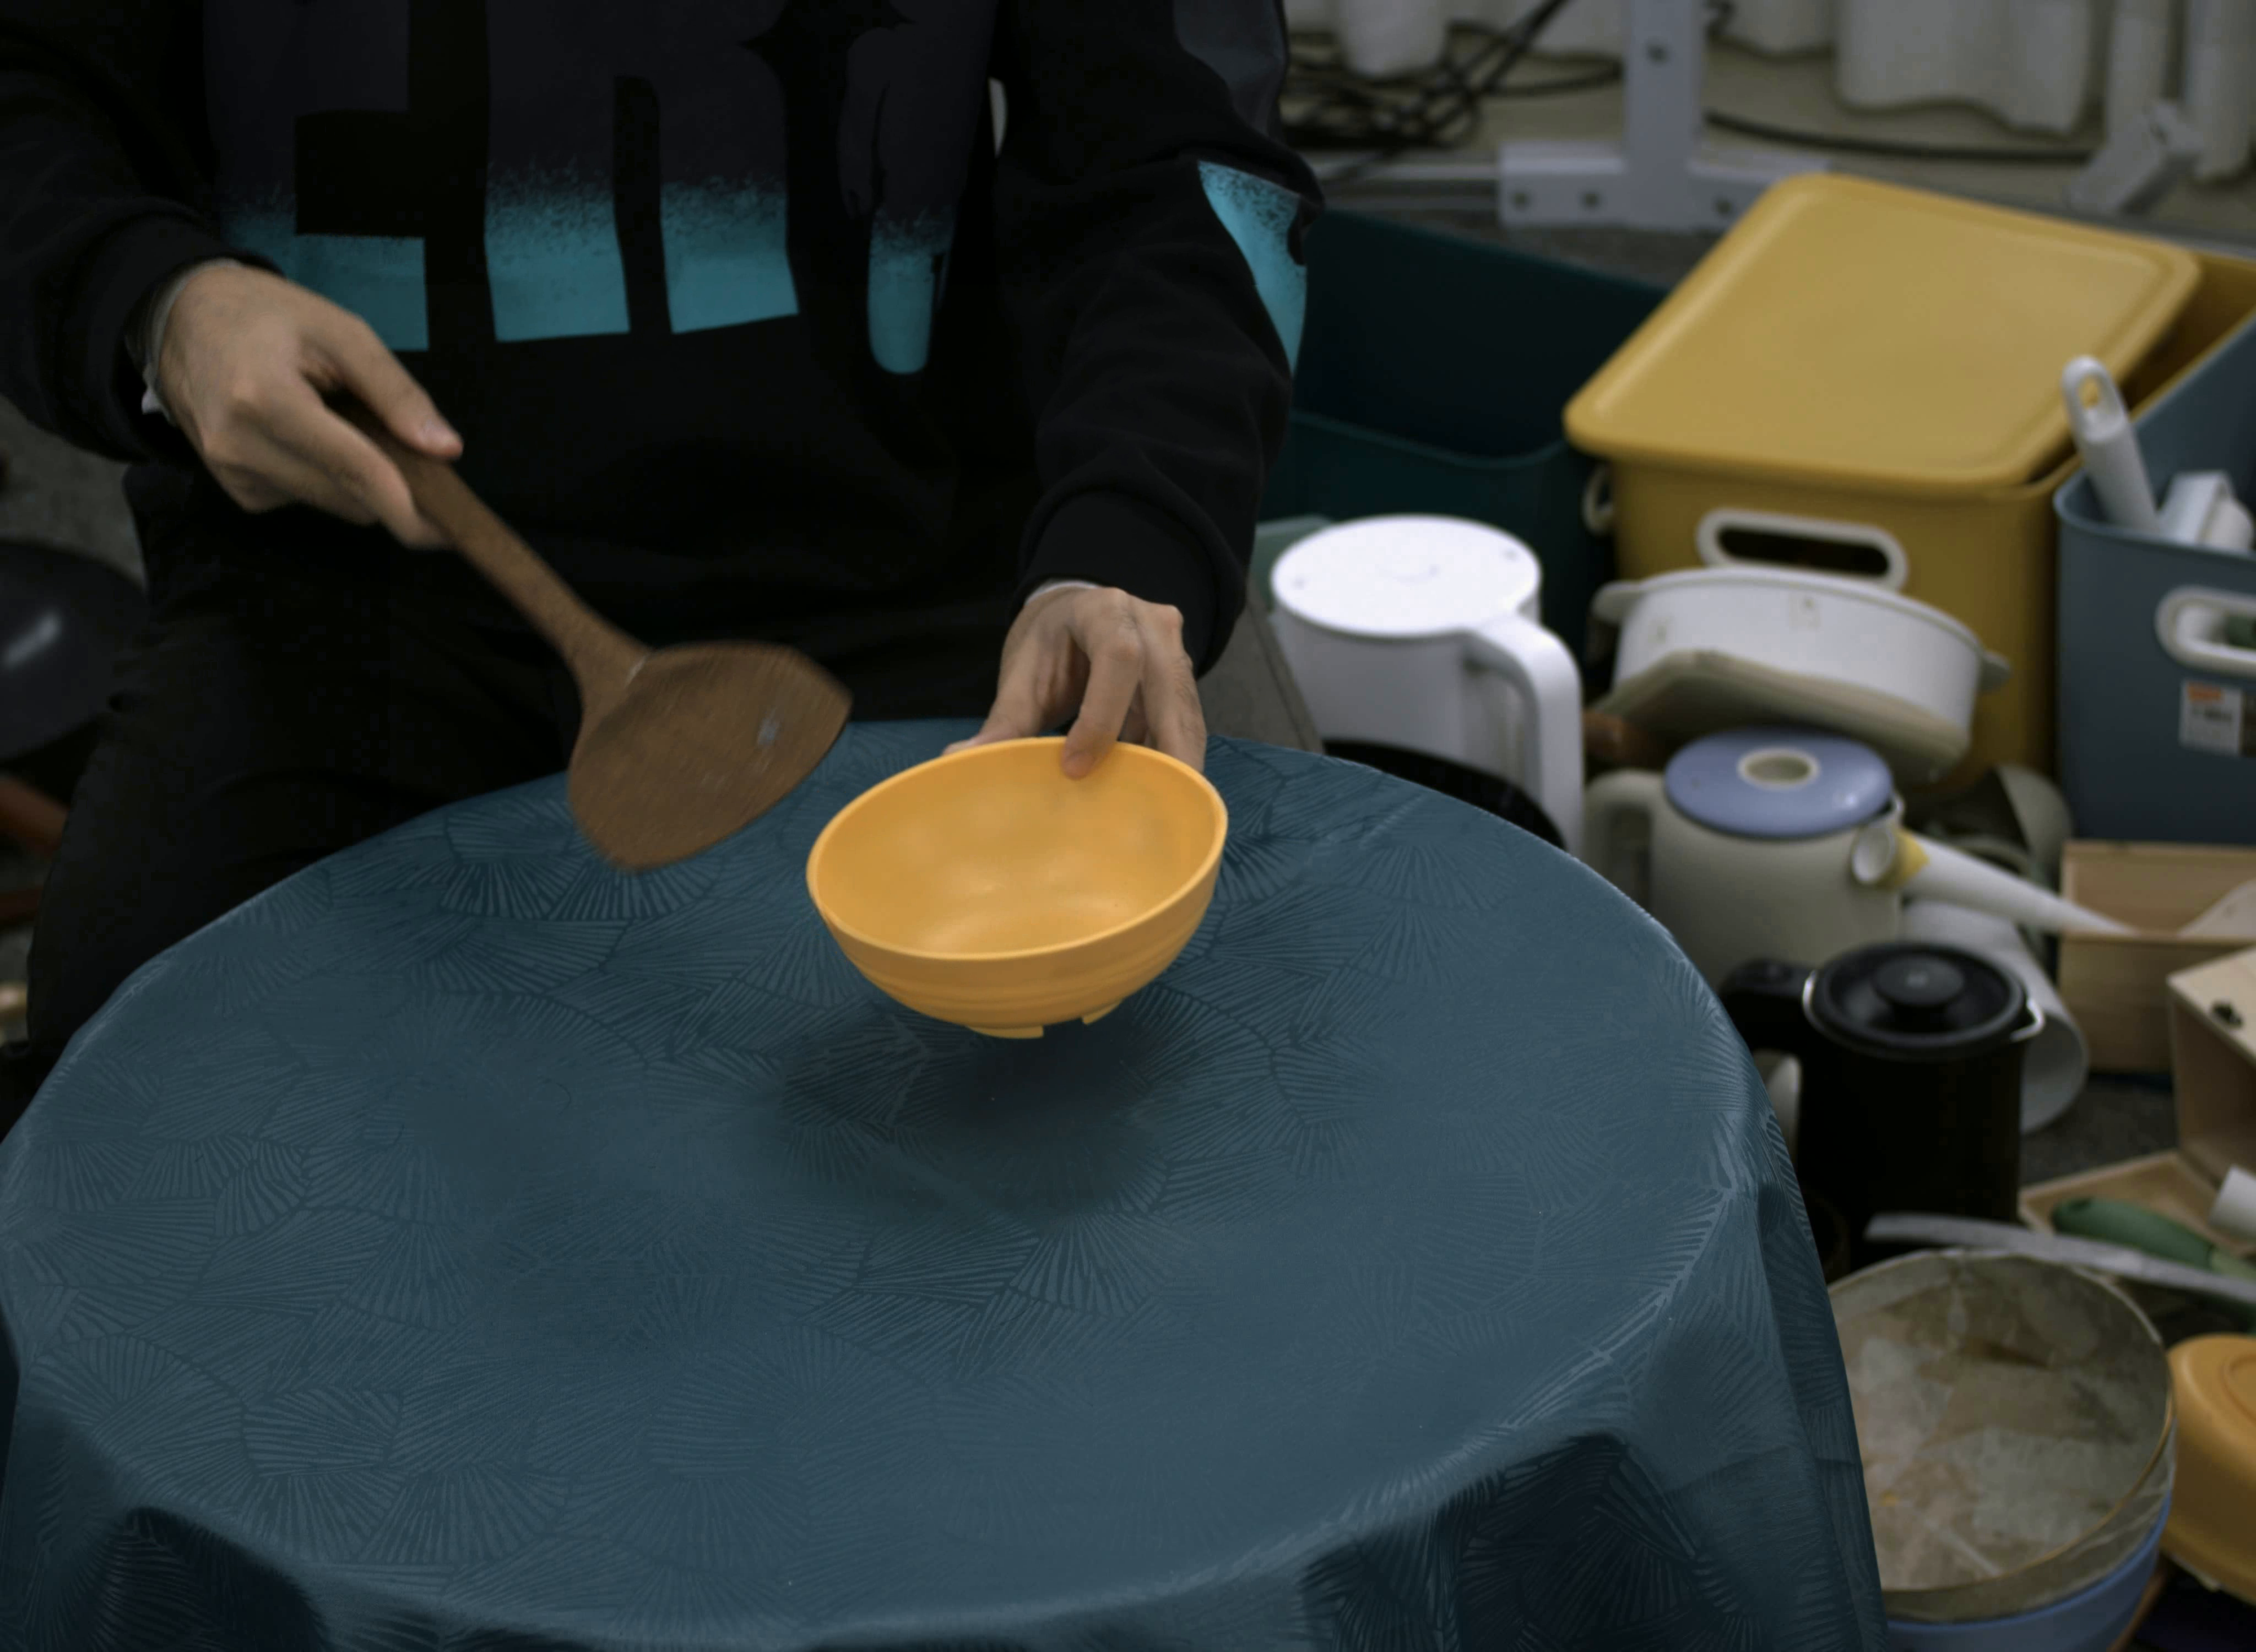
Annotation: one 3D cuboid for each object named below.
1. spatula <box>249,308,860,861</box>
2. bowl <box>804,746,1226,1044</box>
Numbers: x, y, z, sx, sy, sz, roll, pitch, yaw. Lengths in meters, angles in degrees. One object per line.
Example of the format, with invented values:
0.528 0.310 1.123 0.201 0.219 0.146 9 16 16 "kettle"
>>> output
-0.215 -0.096 1.934 0.096 0.015 0.388 -37 44 -11 "spatula"
-0.037 0.032 1.922 0.144 0.059 0.147 -3 29 2 "bowl"
